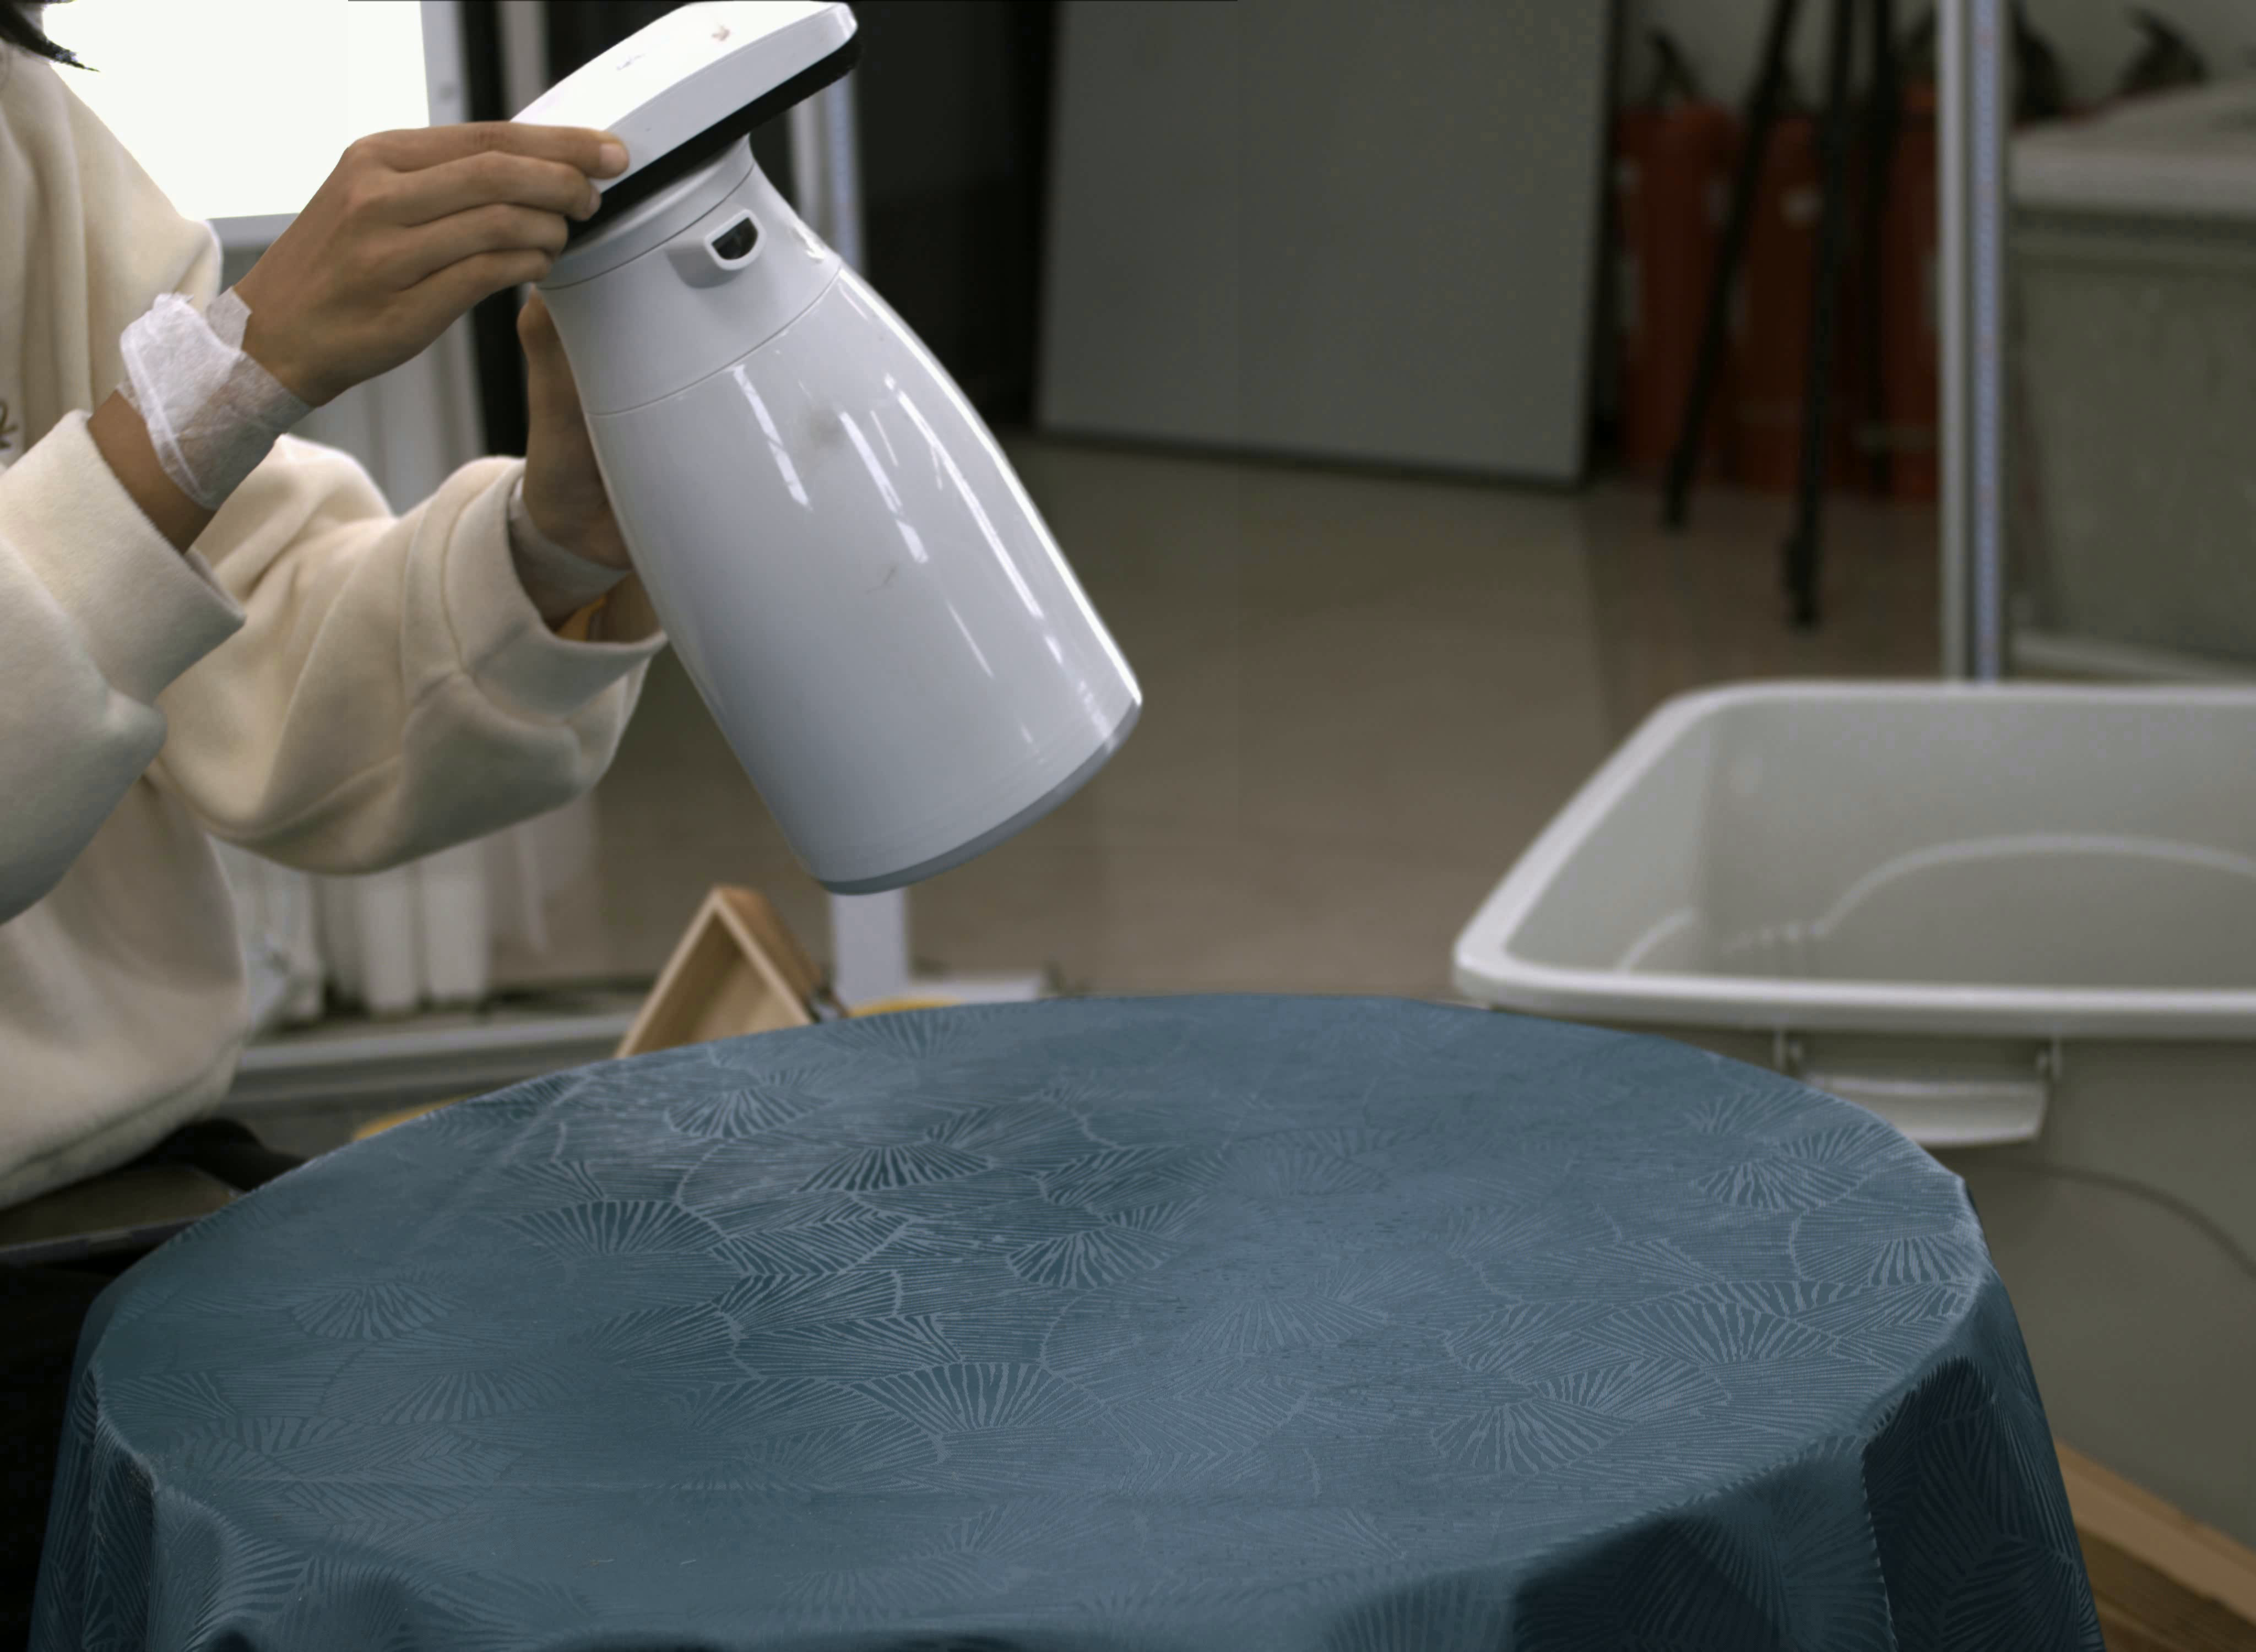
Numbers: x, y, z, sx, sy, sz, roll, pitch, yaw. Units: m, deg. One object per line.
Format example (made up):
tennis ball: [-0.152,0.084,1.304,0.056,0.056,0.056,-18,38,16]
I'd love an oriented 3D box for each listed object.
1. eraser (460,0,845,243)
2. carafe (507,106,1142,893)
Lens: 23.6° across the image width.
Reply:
eraser: [-0.154,-0.237,1.744,0.130,0.034,0.064,-33,25,-4]
carafe: [-0.119,-0.117,1.817,0.131,0.248,0.169,-39,21,-22]
